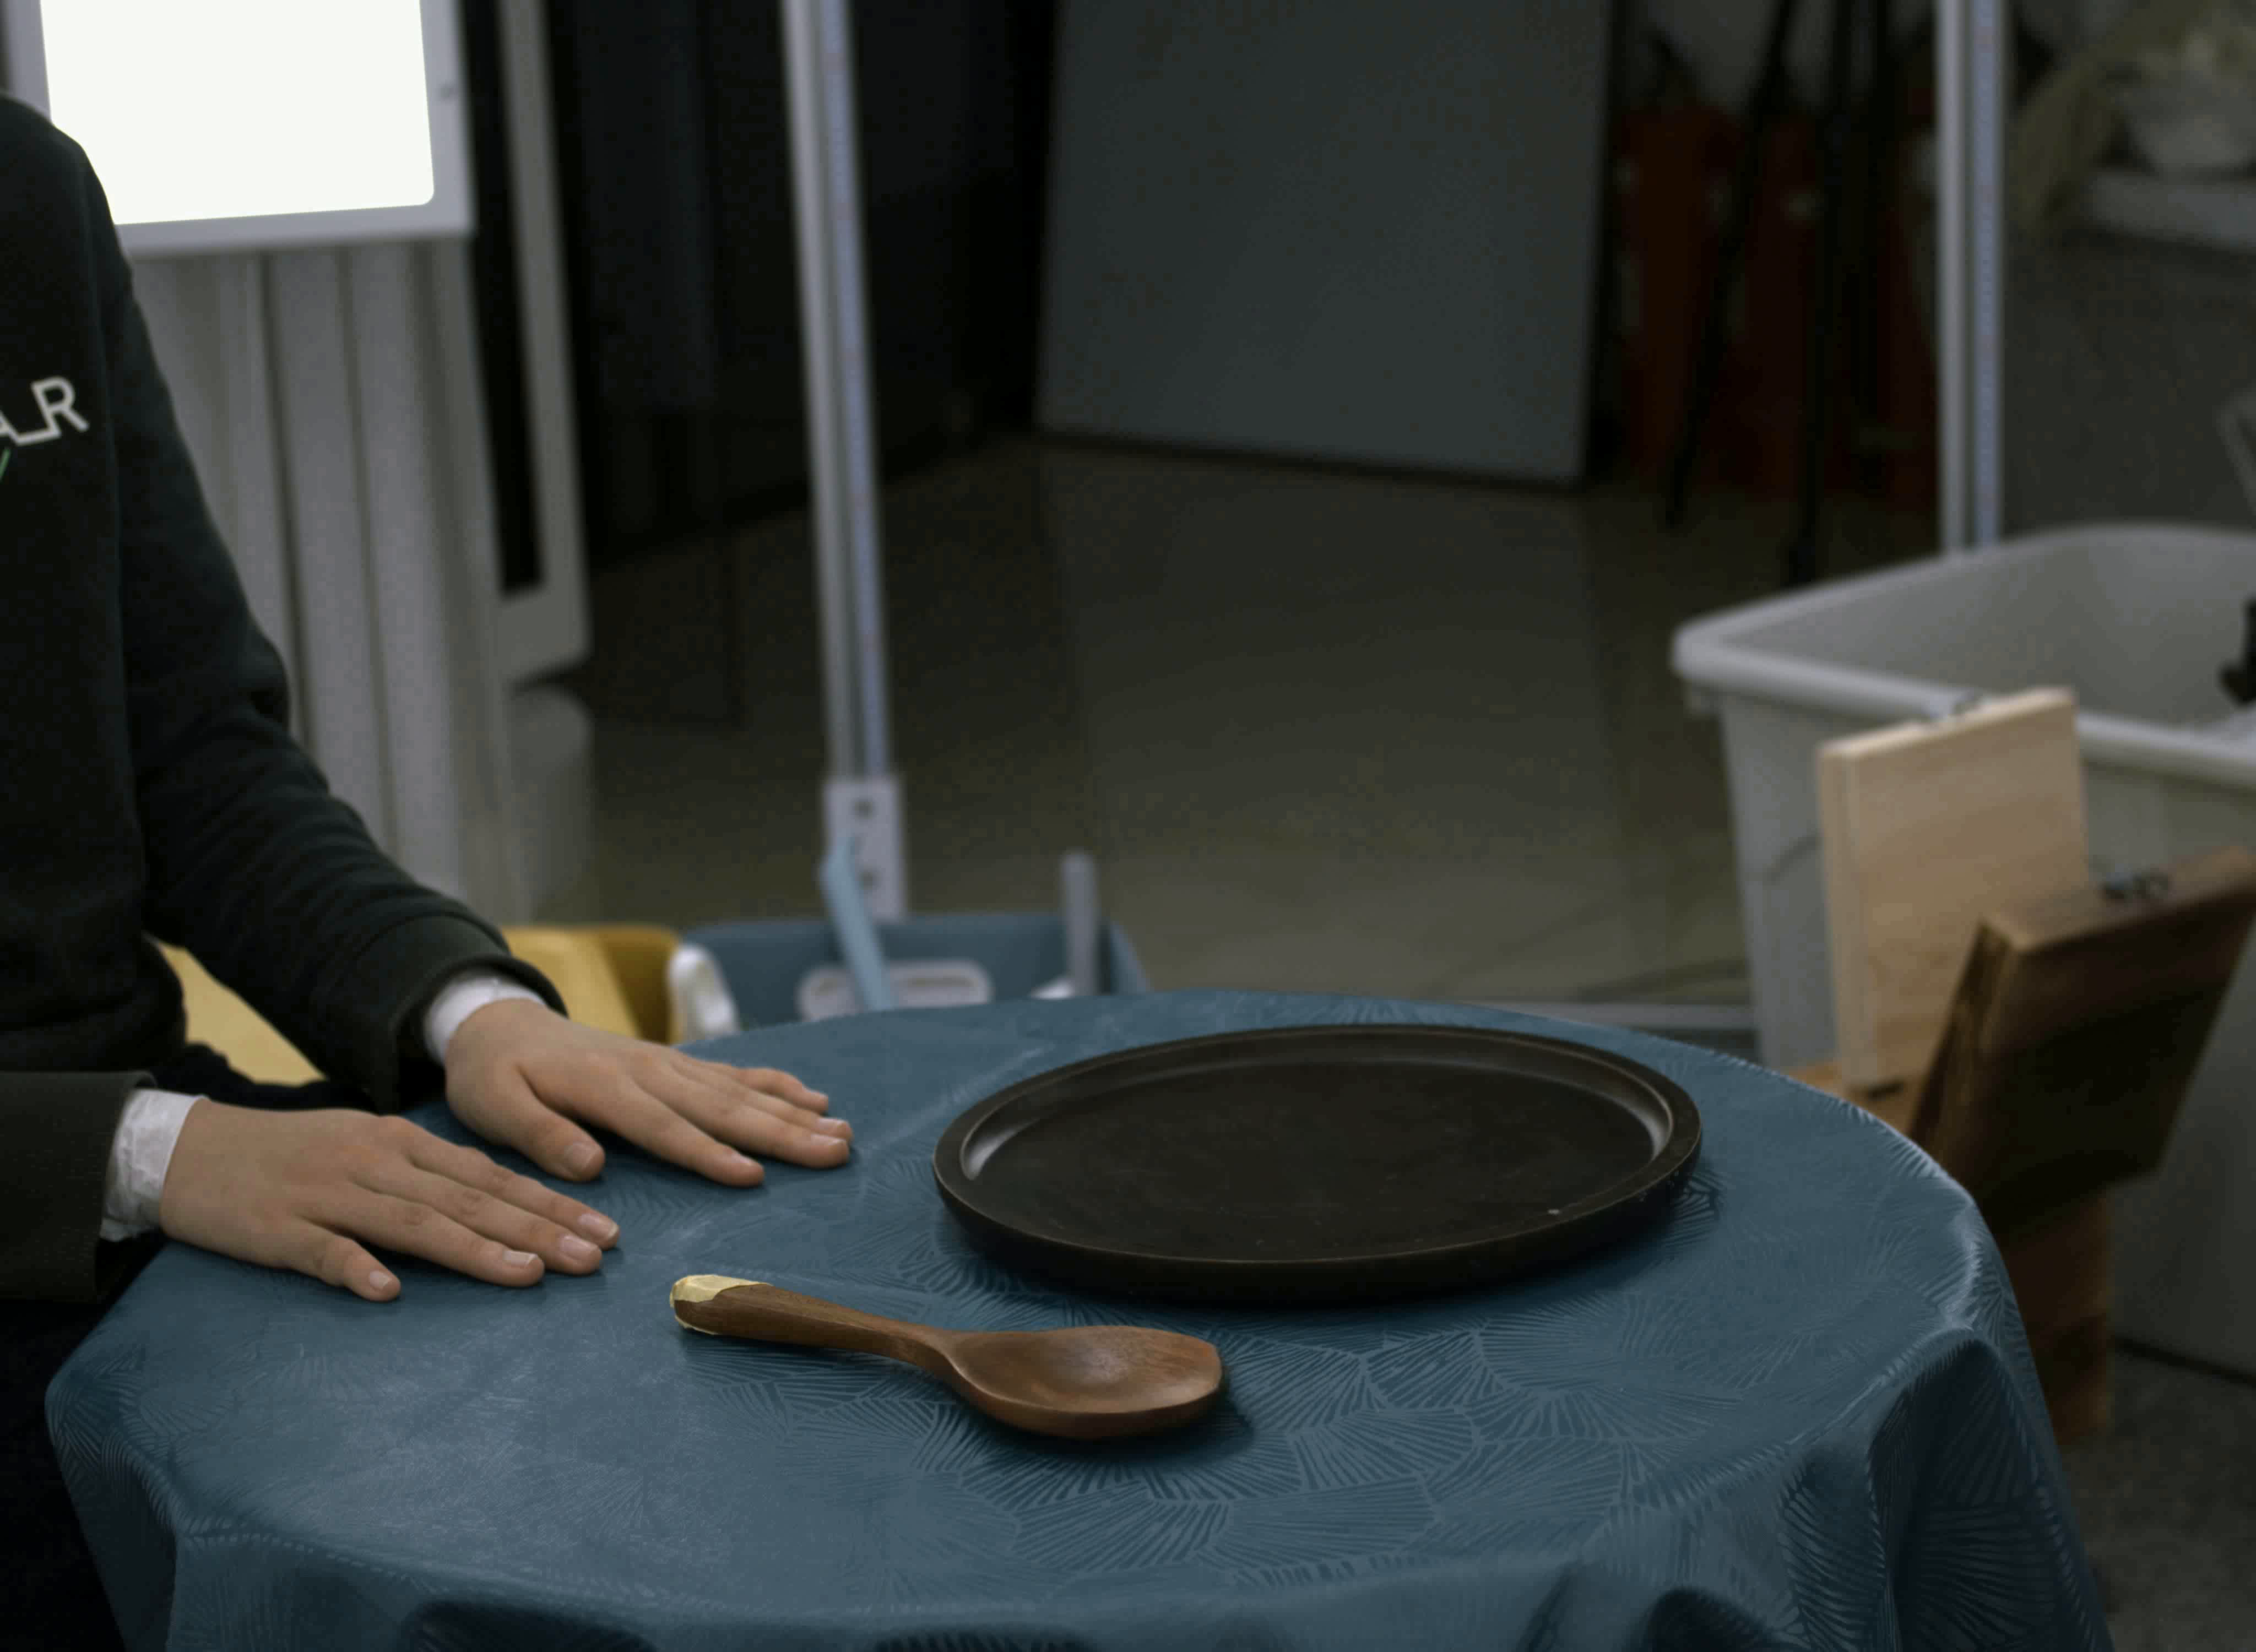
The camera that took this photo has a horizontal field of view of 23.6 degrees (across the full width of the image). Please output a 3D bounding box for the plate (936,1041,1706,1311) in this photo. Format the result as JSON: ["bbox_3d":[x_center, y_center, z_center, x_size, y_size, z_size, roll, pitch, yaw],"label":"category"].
[{"bbox_3d":[0.062,0.111,1.750,0.251,0.029,0.255,-3,14,0],"label":"plate"}]

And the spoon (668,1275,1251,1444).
[{"bbox_3d":[-0.055,0.157,1.605,0.217,0.017,0.074,8,18,39],"label":"spoon"}]
